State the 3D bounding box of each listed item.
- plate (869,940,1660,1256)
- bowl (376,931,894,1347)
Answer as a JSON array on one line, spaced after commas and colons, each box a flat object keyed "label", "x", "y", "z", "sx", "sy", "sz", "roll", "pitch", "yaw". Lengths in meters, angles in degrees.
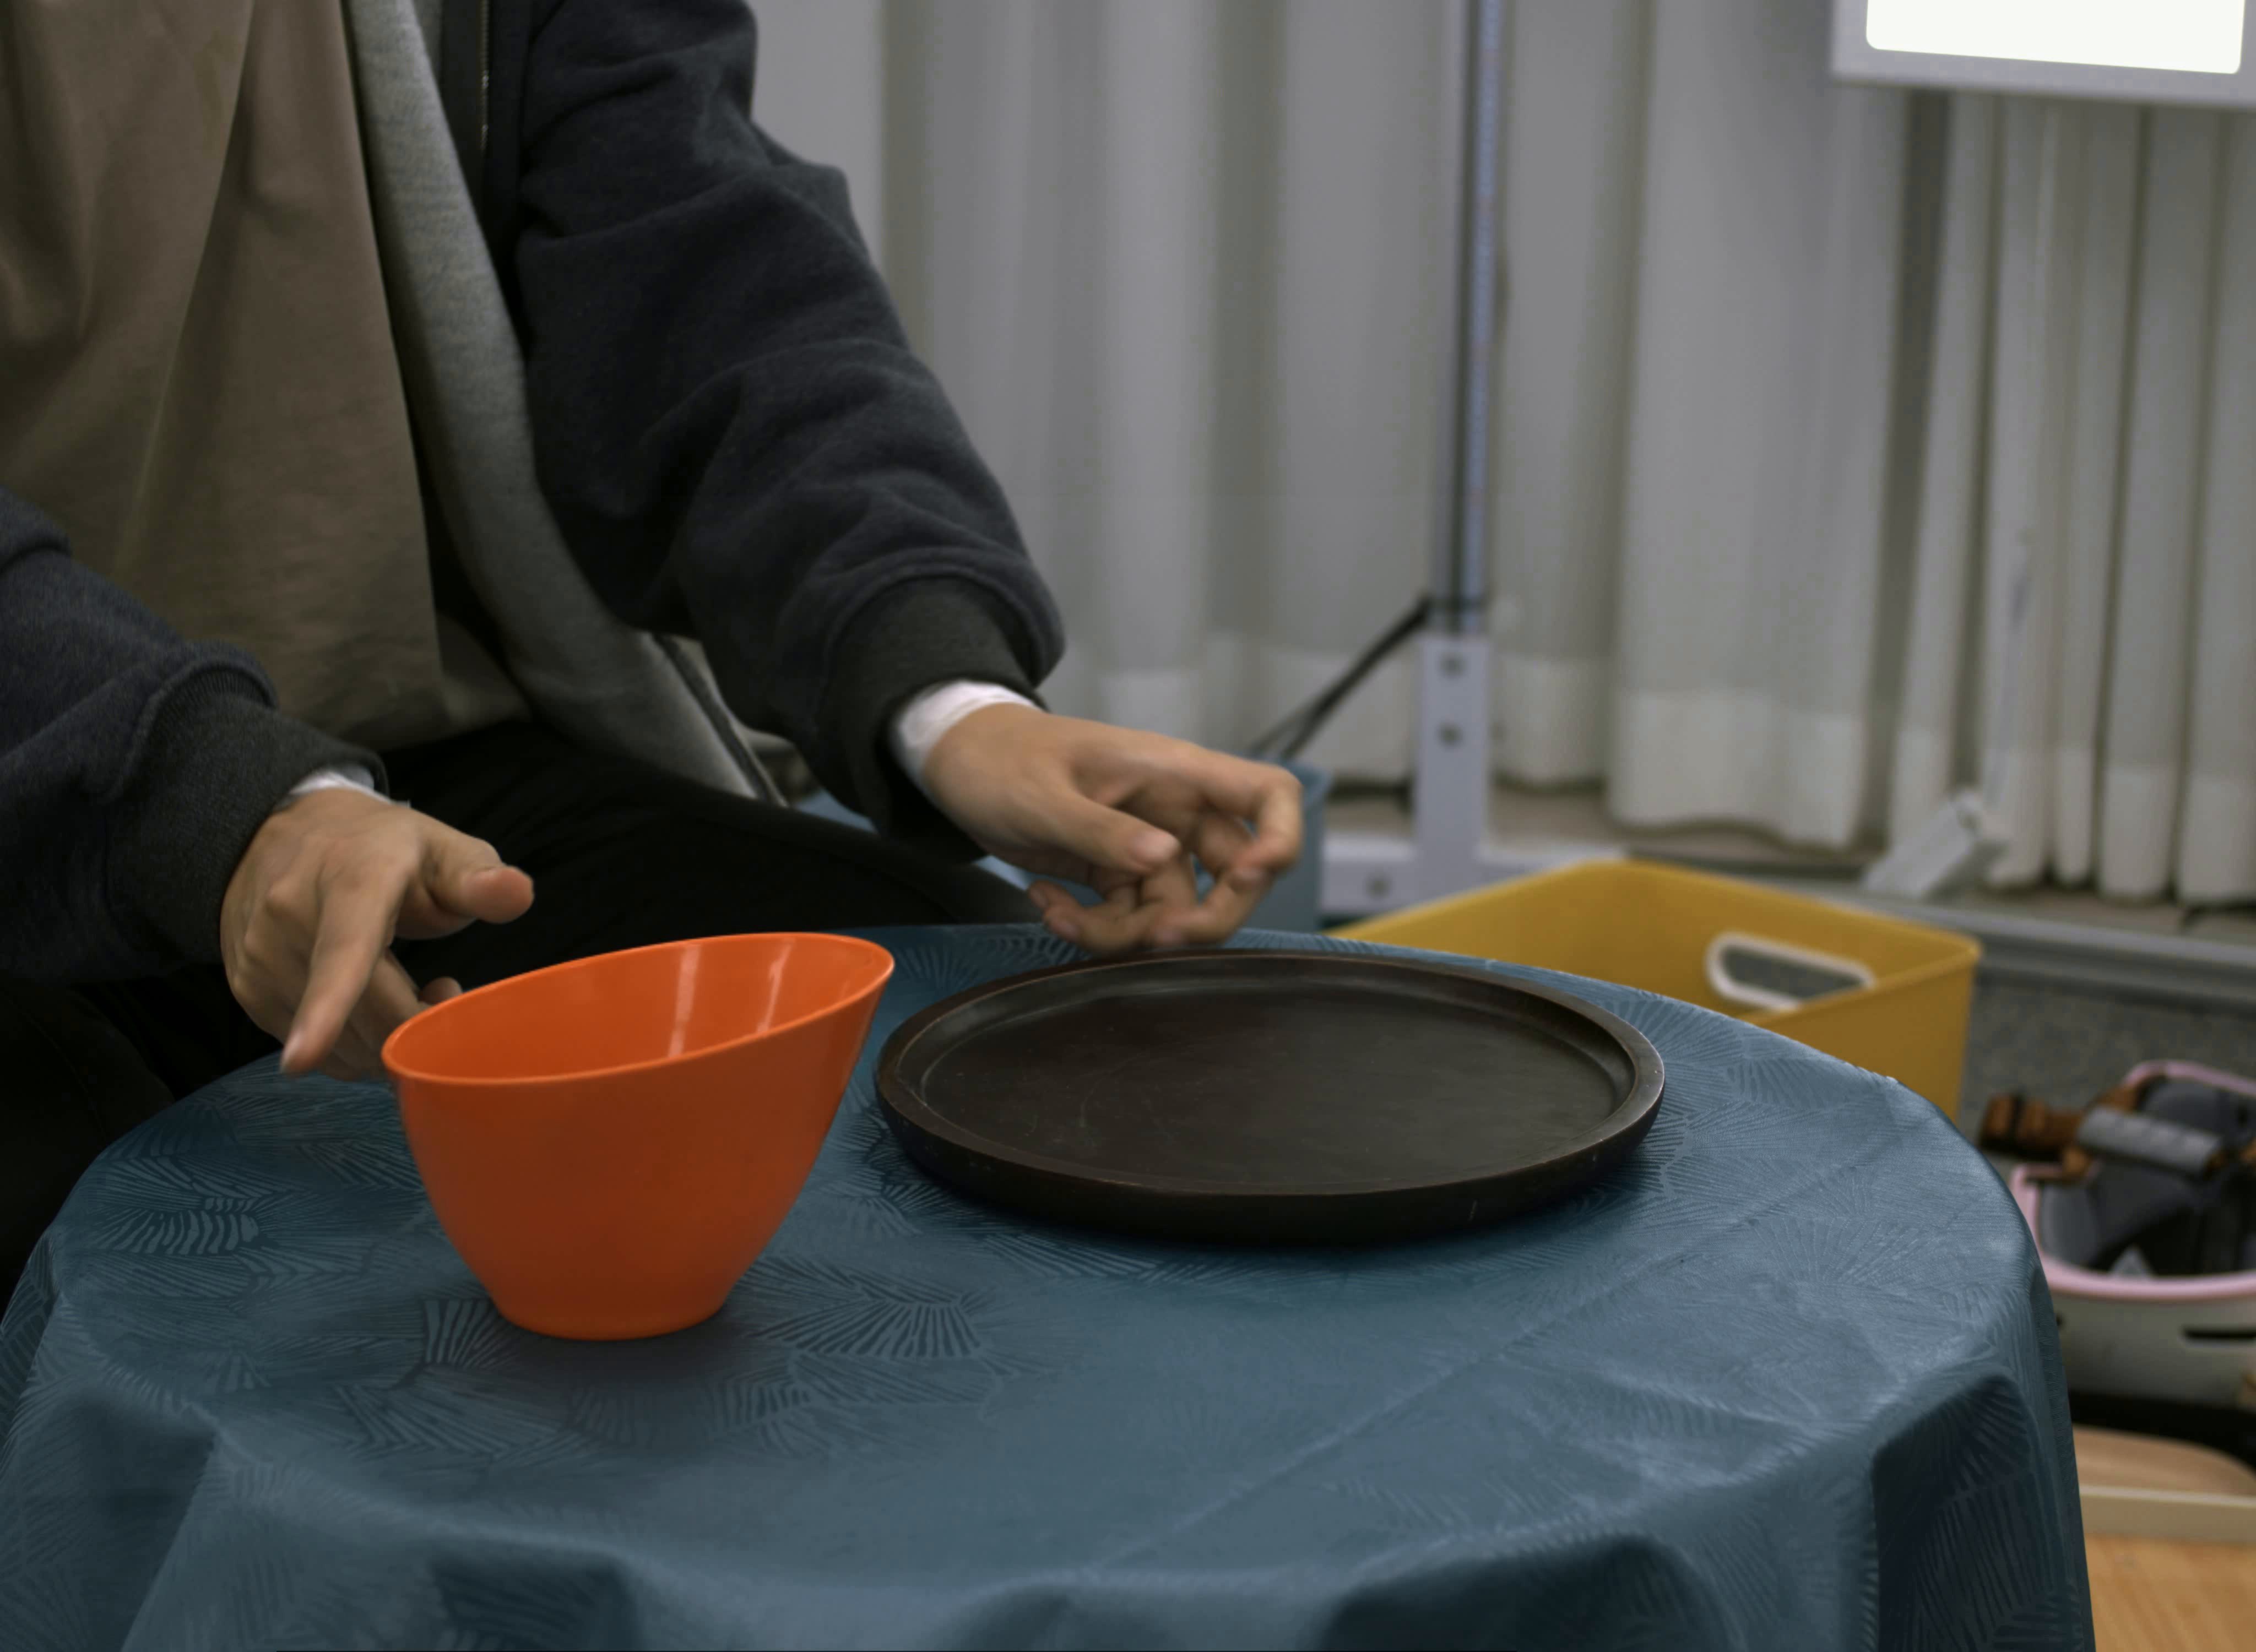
[{"label": "plate", "x": 0.044, "y": 0.085, "z": 1.680, "sx": 0.254, "sy": 0.029, "sz": 0.253, "roll": 0, "pitch": 17, "yaw": 1}, {"label": "bowl", "x": -0.140, "y": 0.090, "z": 1.507, "sx": 0.147, "sy": 0.105, "sz": 0.147, "roll": 0, "pitch": 17, "yaw": 0}]
